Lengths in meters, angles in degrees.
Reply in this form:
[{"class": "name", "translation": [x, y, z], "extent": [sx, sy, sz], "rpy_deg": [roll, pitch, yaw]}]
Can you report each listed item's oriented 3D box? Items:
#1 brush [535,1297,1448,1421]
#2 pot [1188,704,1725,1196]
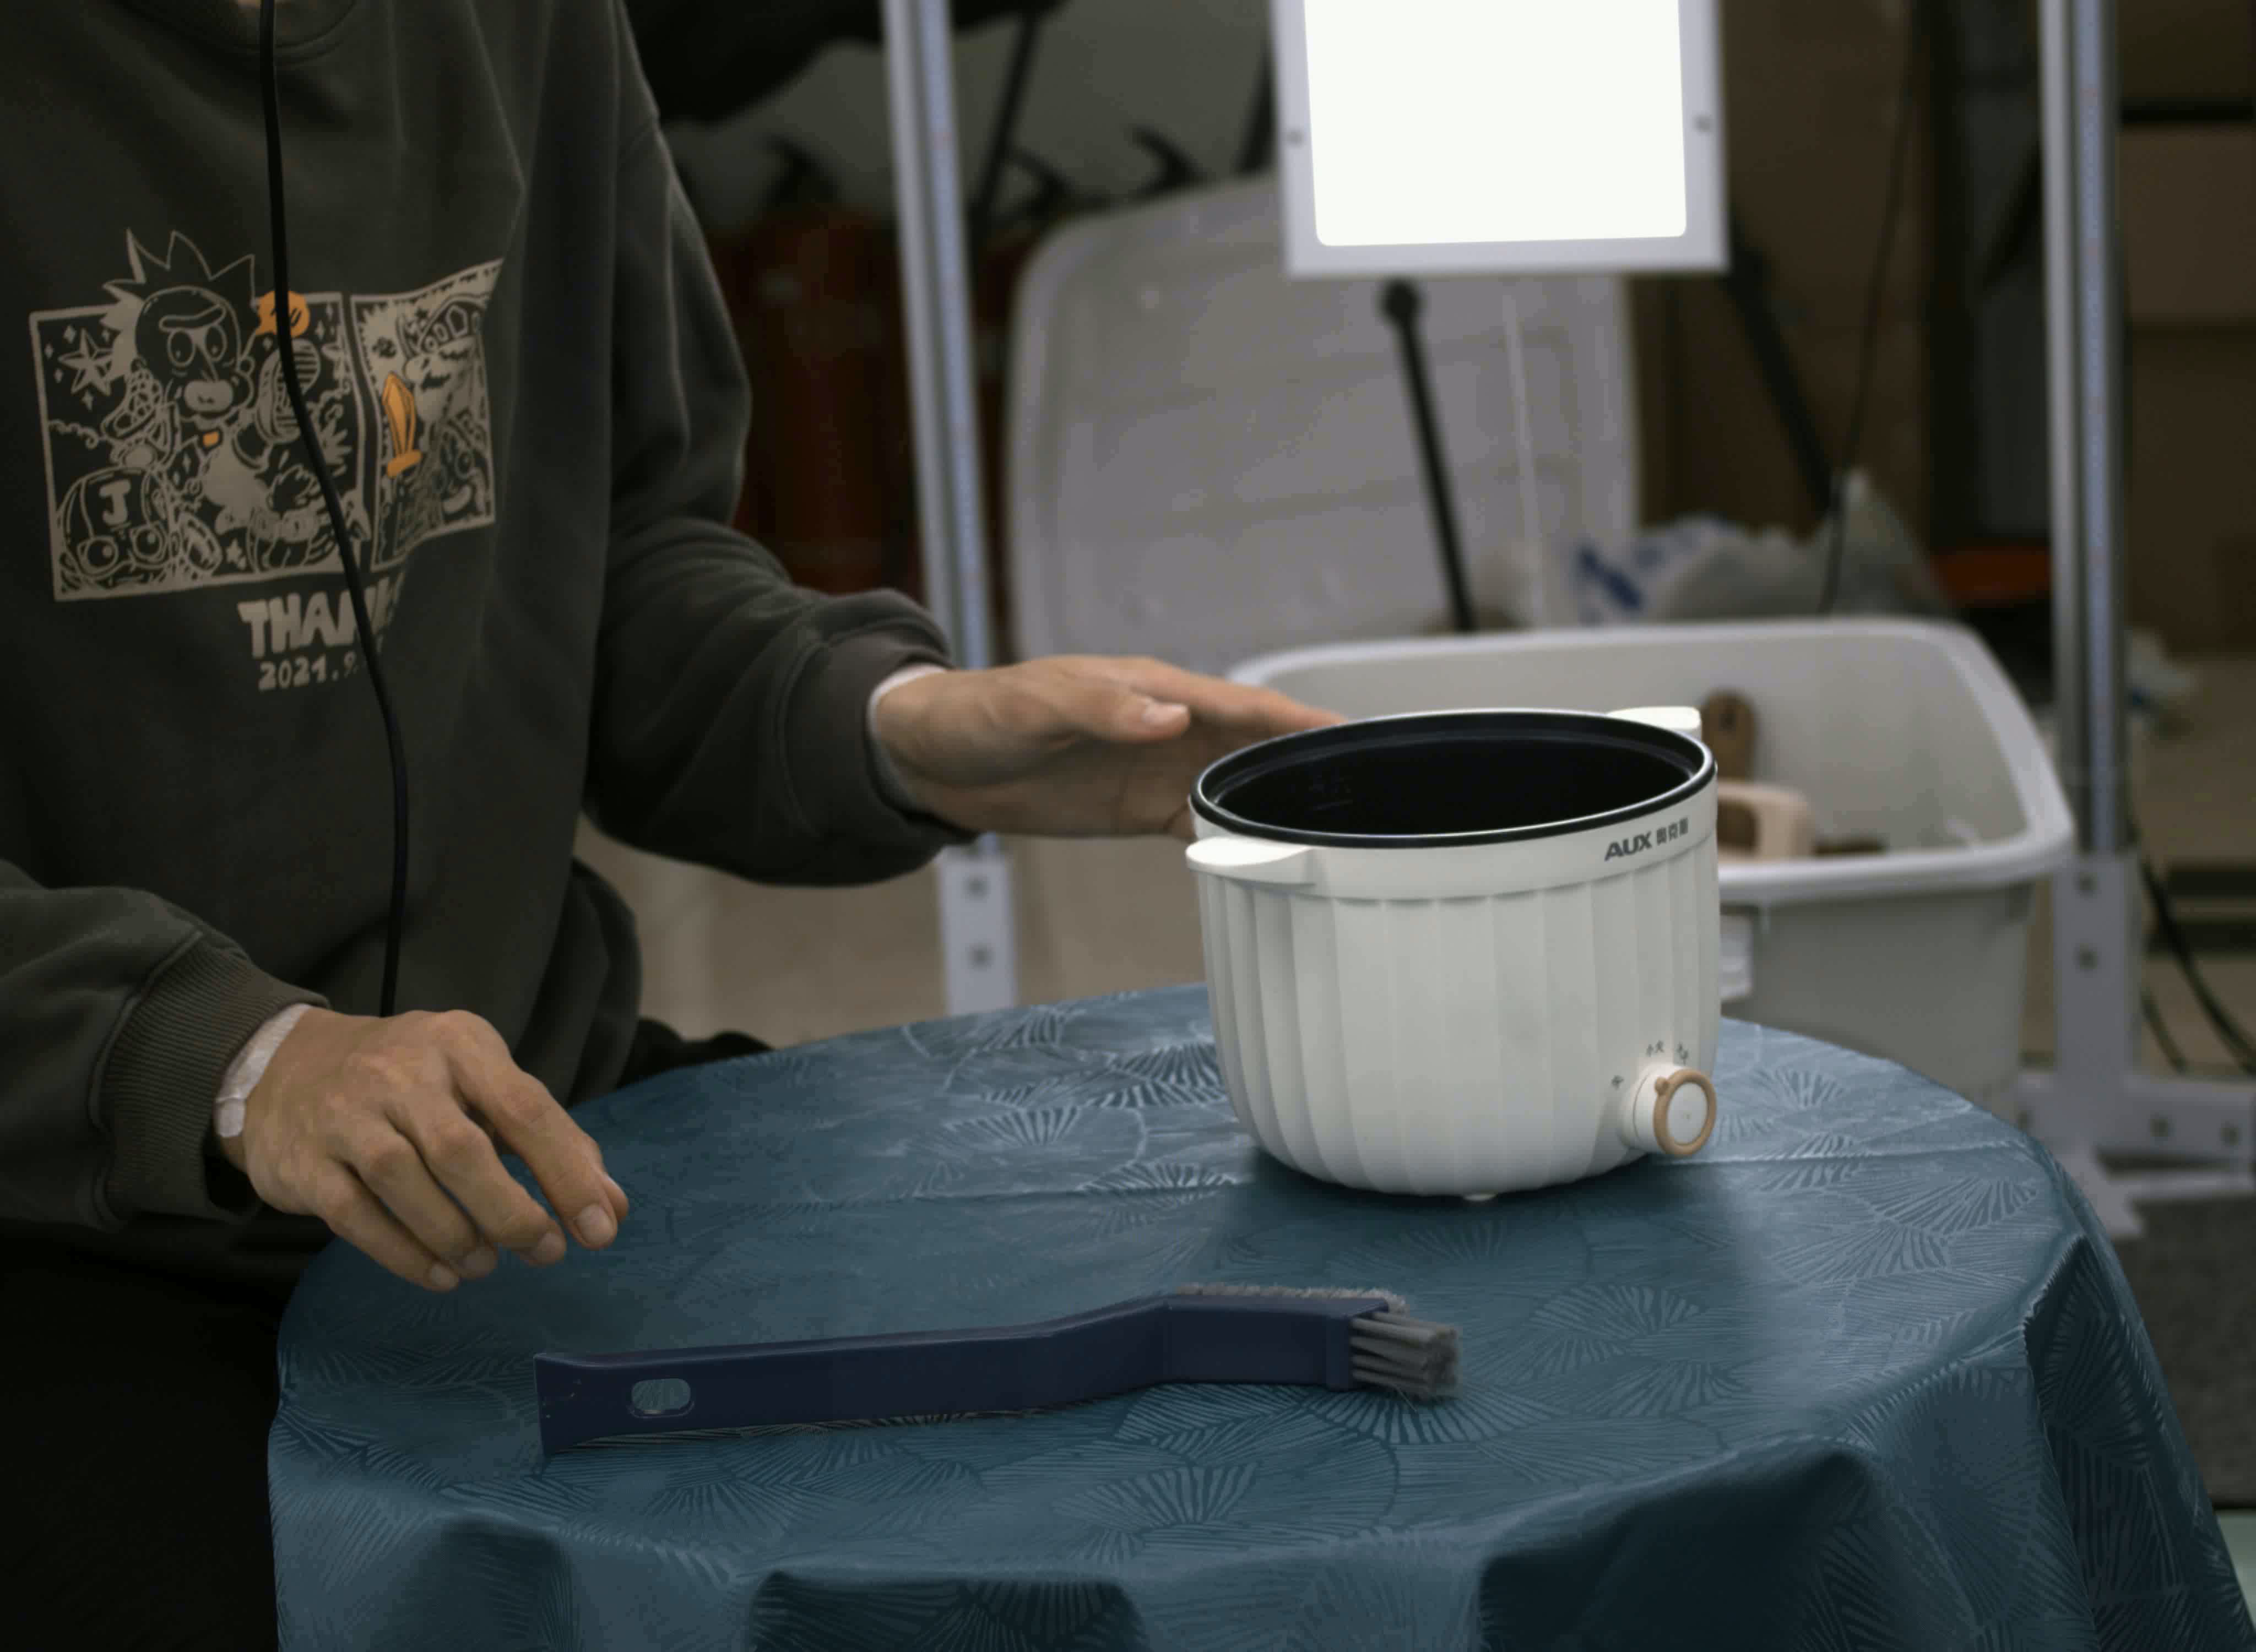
[{"class": "brush", "translation": [-0.044, 0.164, 1.686], "extent": [0.271, 0.033, 0.096], "rpy_deg": [-4, 10, -5]}, {"class": "pot", "translation": [0.121, 0.044, 1.893], "extent": [0.234, 0.143, 0.195], "rpy_deg": [-19, 16, -40]}]
